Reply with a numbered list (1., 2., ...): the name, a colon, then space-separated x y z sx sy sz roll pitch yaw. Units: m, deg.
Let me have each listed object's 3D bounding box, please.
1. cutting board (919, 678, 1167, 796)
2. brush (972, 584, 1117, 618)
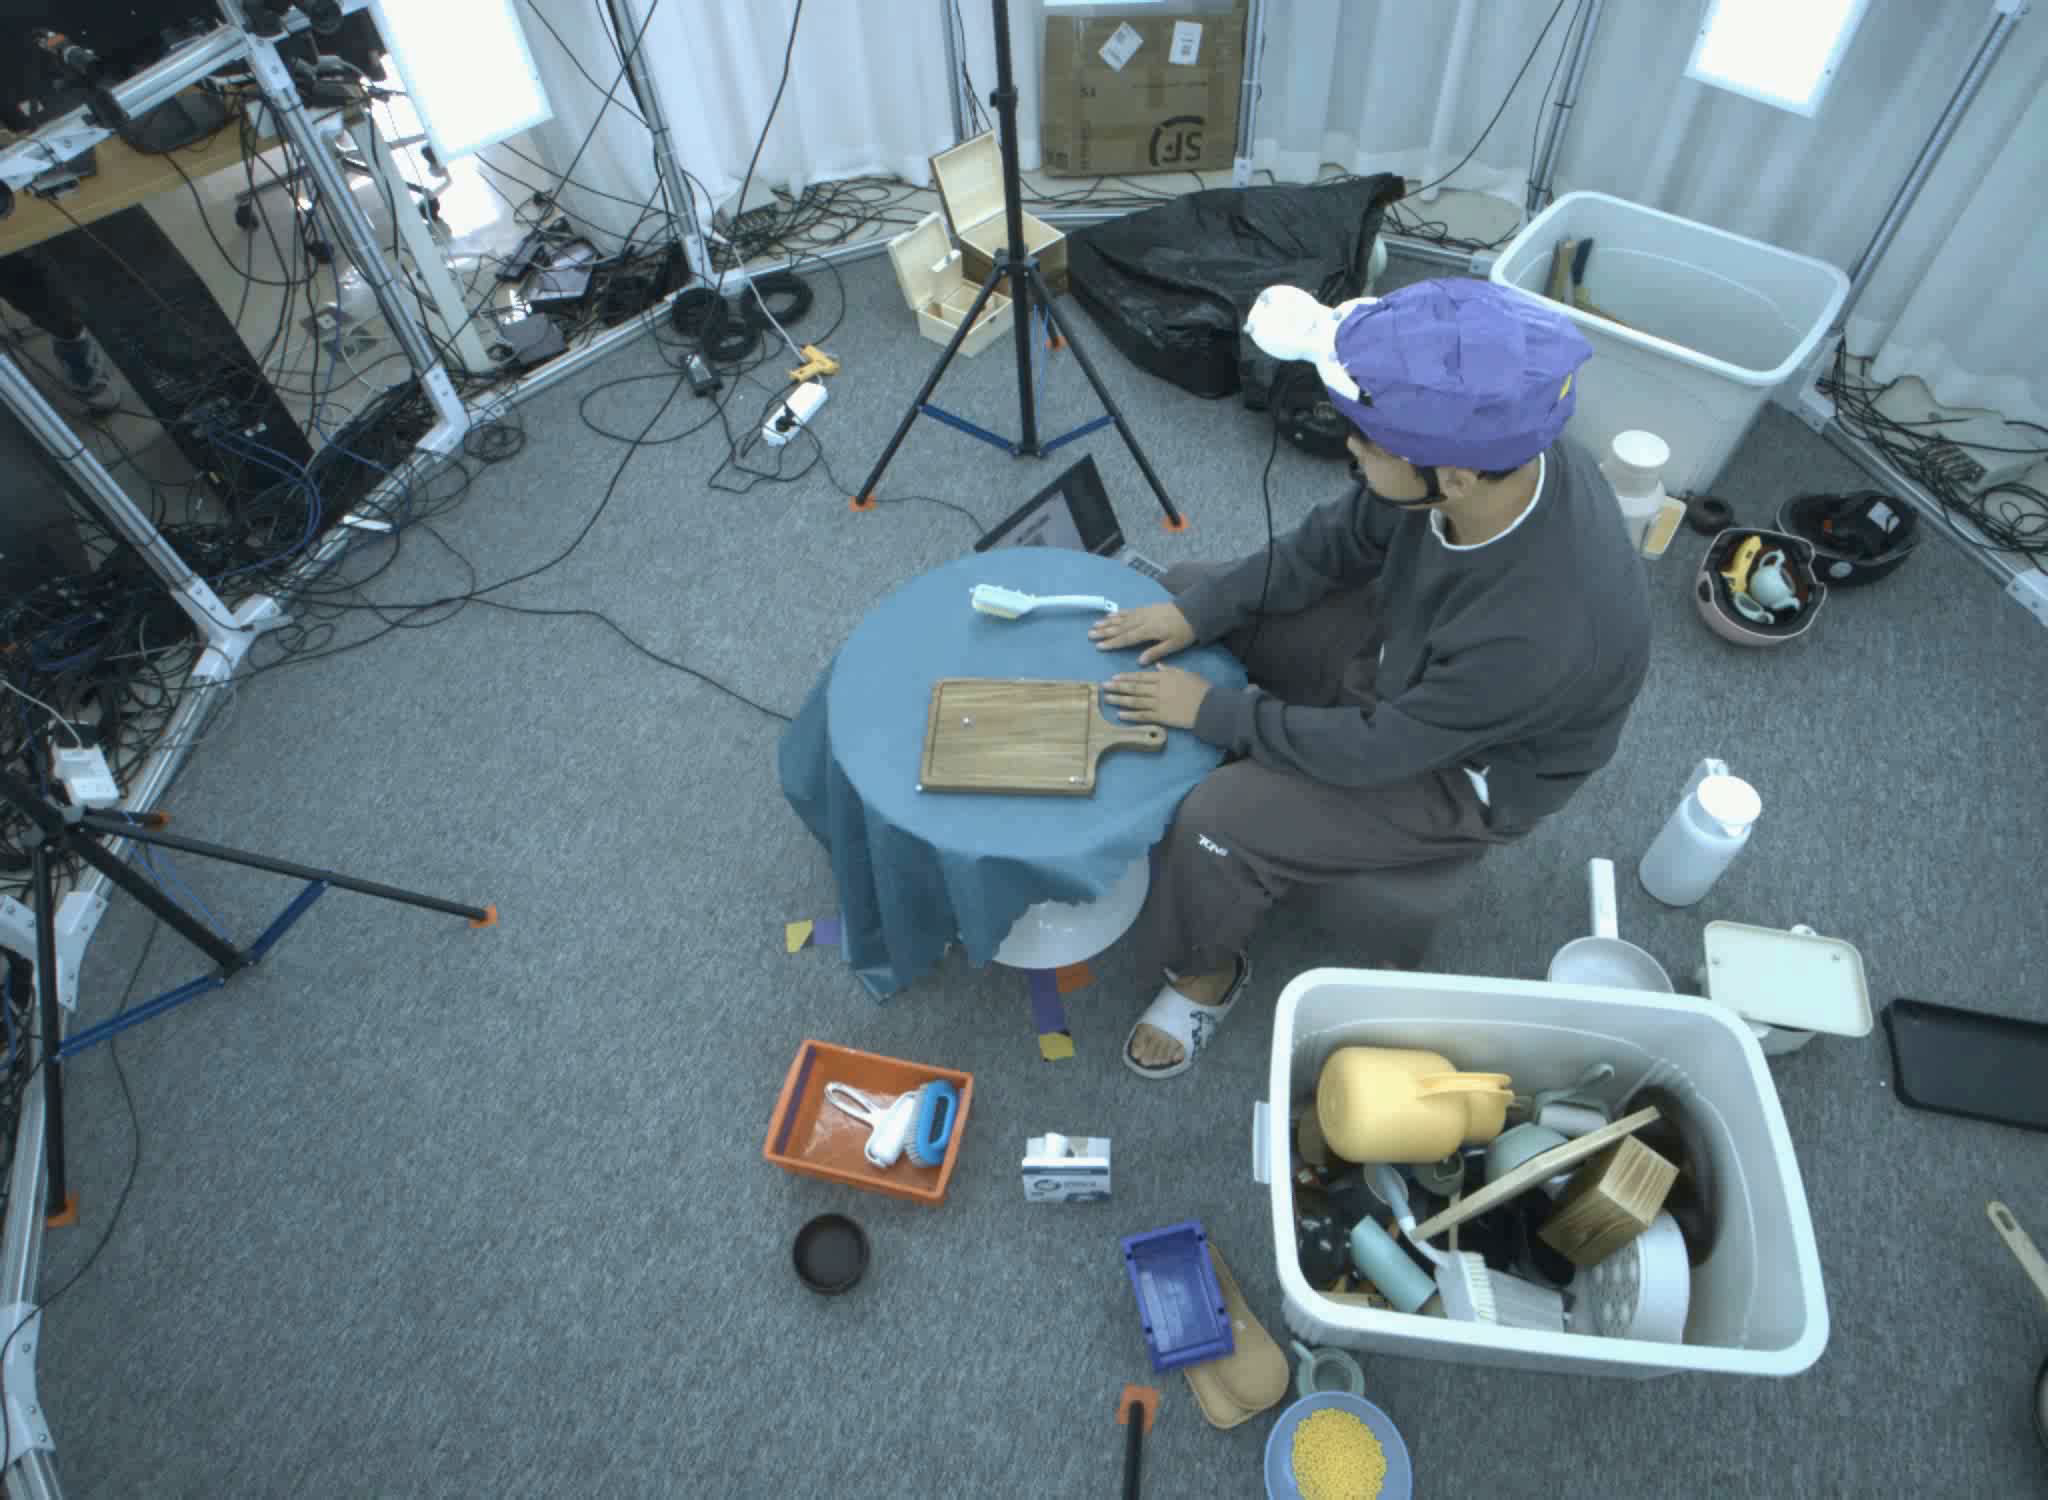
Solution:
1. cutting board: 0.031 -0.020 1.788 0.351 0.023 0.199 2 55 3
2. brush: 0.032 -0.229 1.930 0.230 0.050 0.037 2 56 -8
